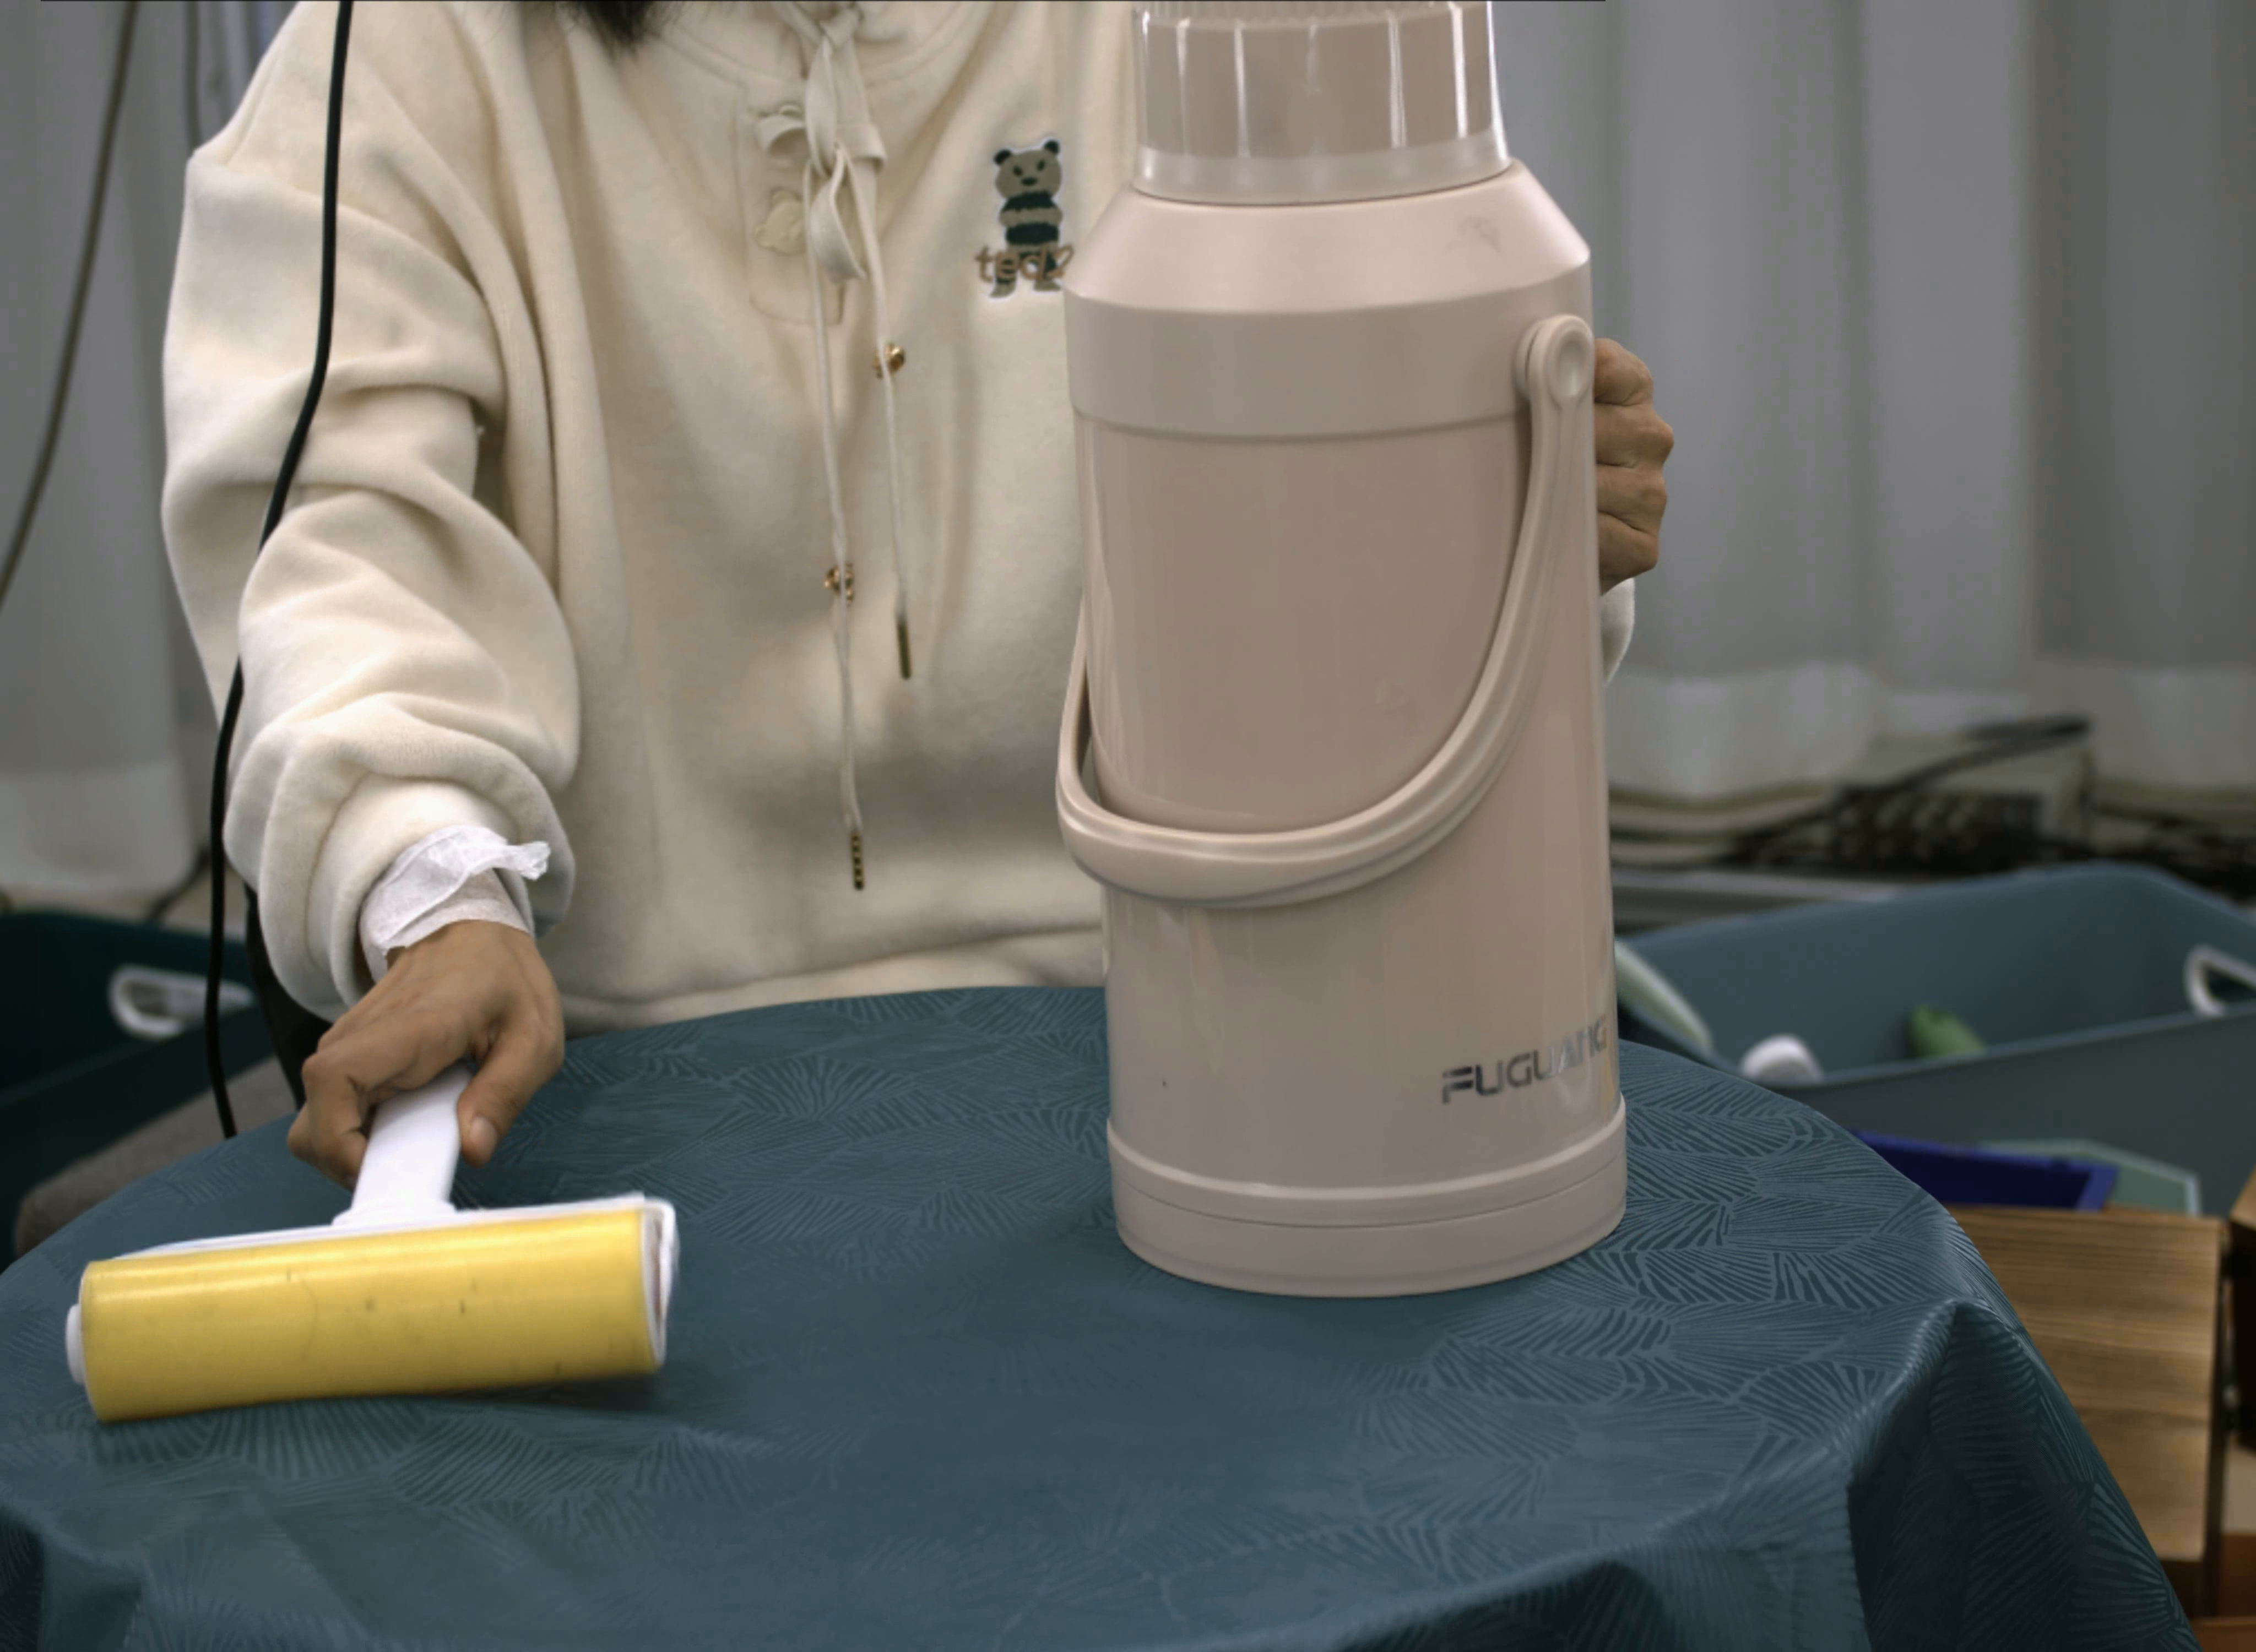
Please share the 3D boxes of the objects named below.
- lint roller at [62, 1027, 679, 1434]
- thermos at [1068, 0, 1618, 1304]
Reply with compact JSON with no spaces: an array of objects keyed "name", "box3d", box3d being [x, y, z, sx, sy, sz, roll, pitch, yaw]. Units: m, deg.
[{"name":"lint roller","box3d":[-0.218,0.104,1.615,0.174,0.051,0.195,-6,34,0]},{"name":"thermos","box3d":[0.074,-0.074,1.645,0.176,0.405,0.207,8,17,39]}]
